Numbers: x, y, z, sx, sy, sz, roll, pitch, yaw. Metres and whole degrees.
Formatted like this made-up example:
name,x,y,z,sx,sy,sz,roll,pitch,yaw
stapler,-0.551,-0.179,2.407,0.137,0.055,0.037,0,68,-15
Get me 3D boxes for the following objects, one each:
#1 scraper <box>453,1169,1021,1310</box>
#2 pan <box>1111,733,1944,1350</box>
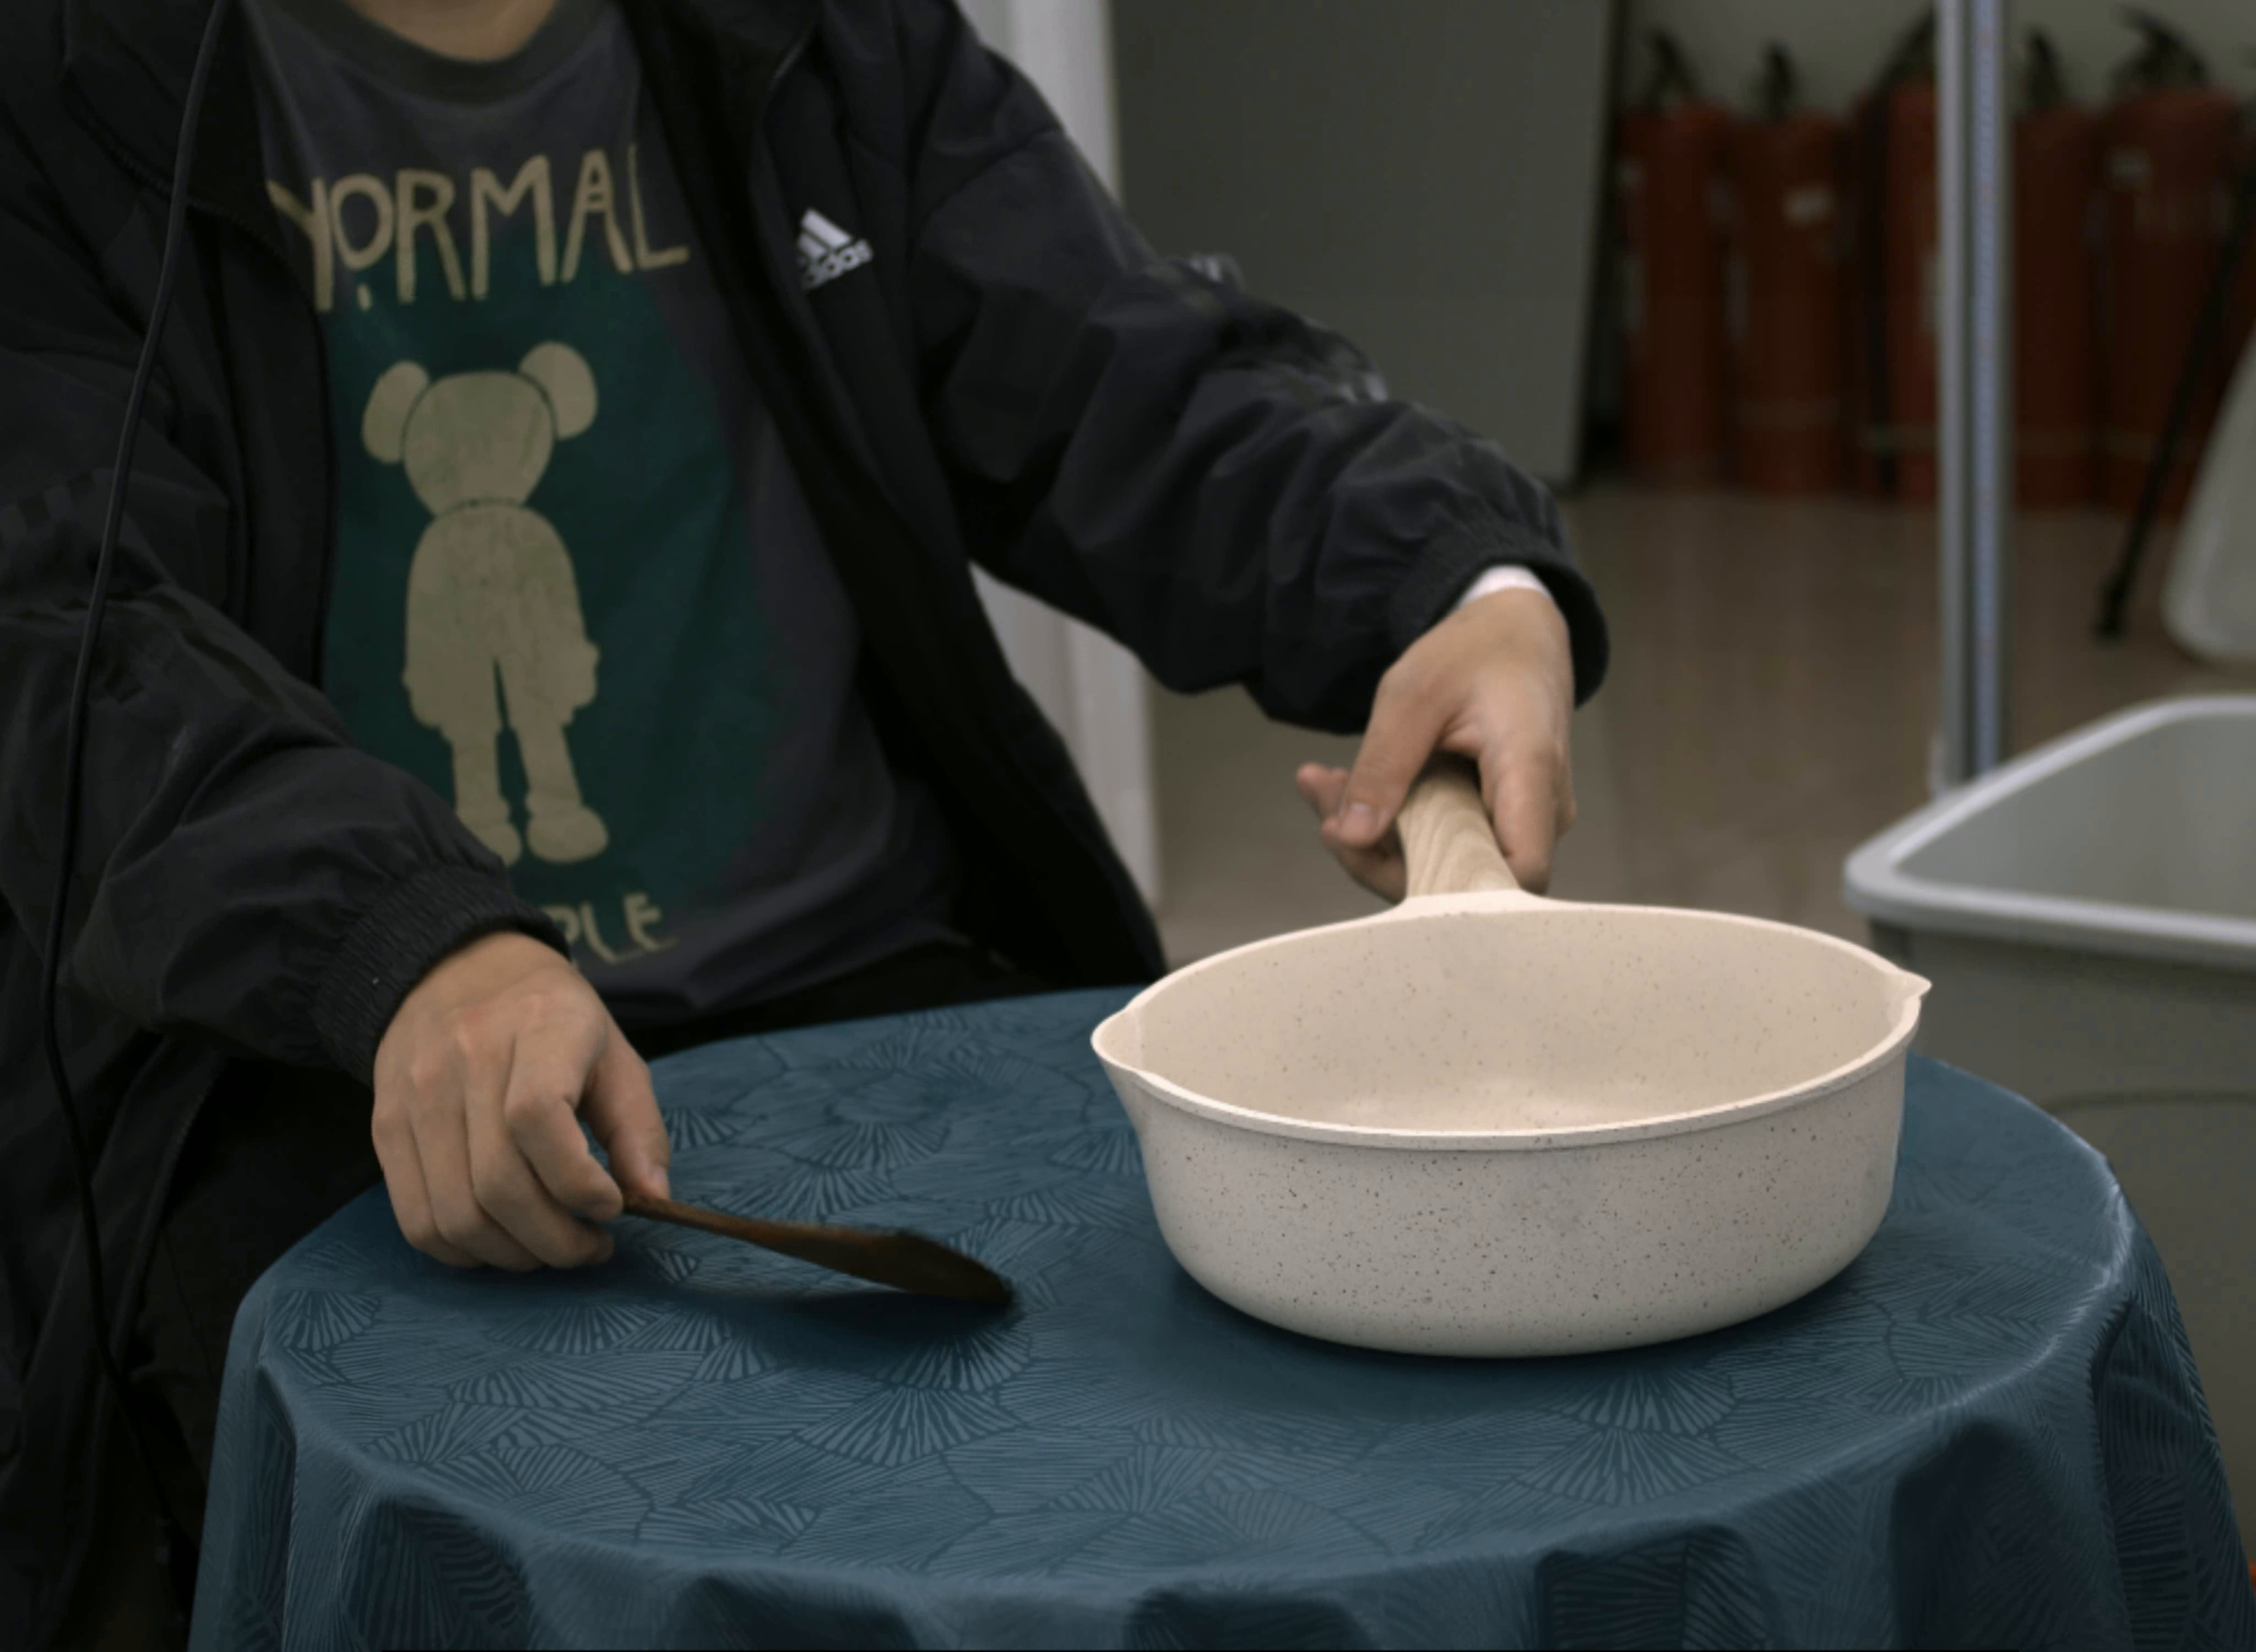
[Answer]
name,x,y,z,sx,sy,sz,roll,pitch,yaw
scraper,-0.130,0.128,1.698,0.213,0.011,0.074,8,-12,37
pan,0.121,0.065,1.758,0.260,0.103,0.436,-6,13,-1
